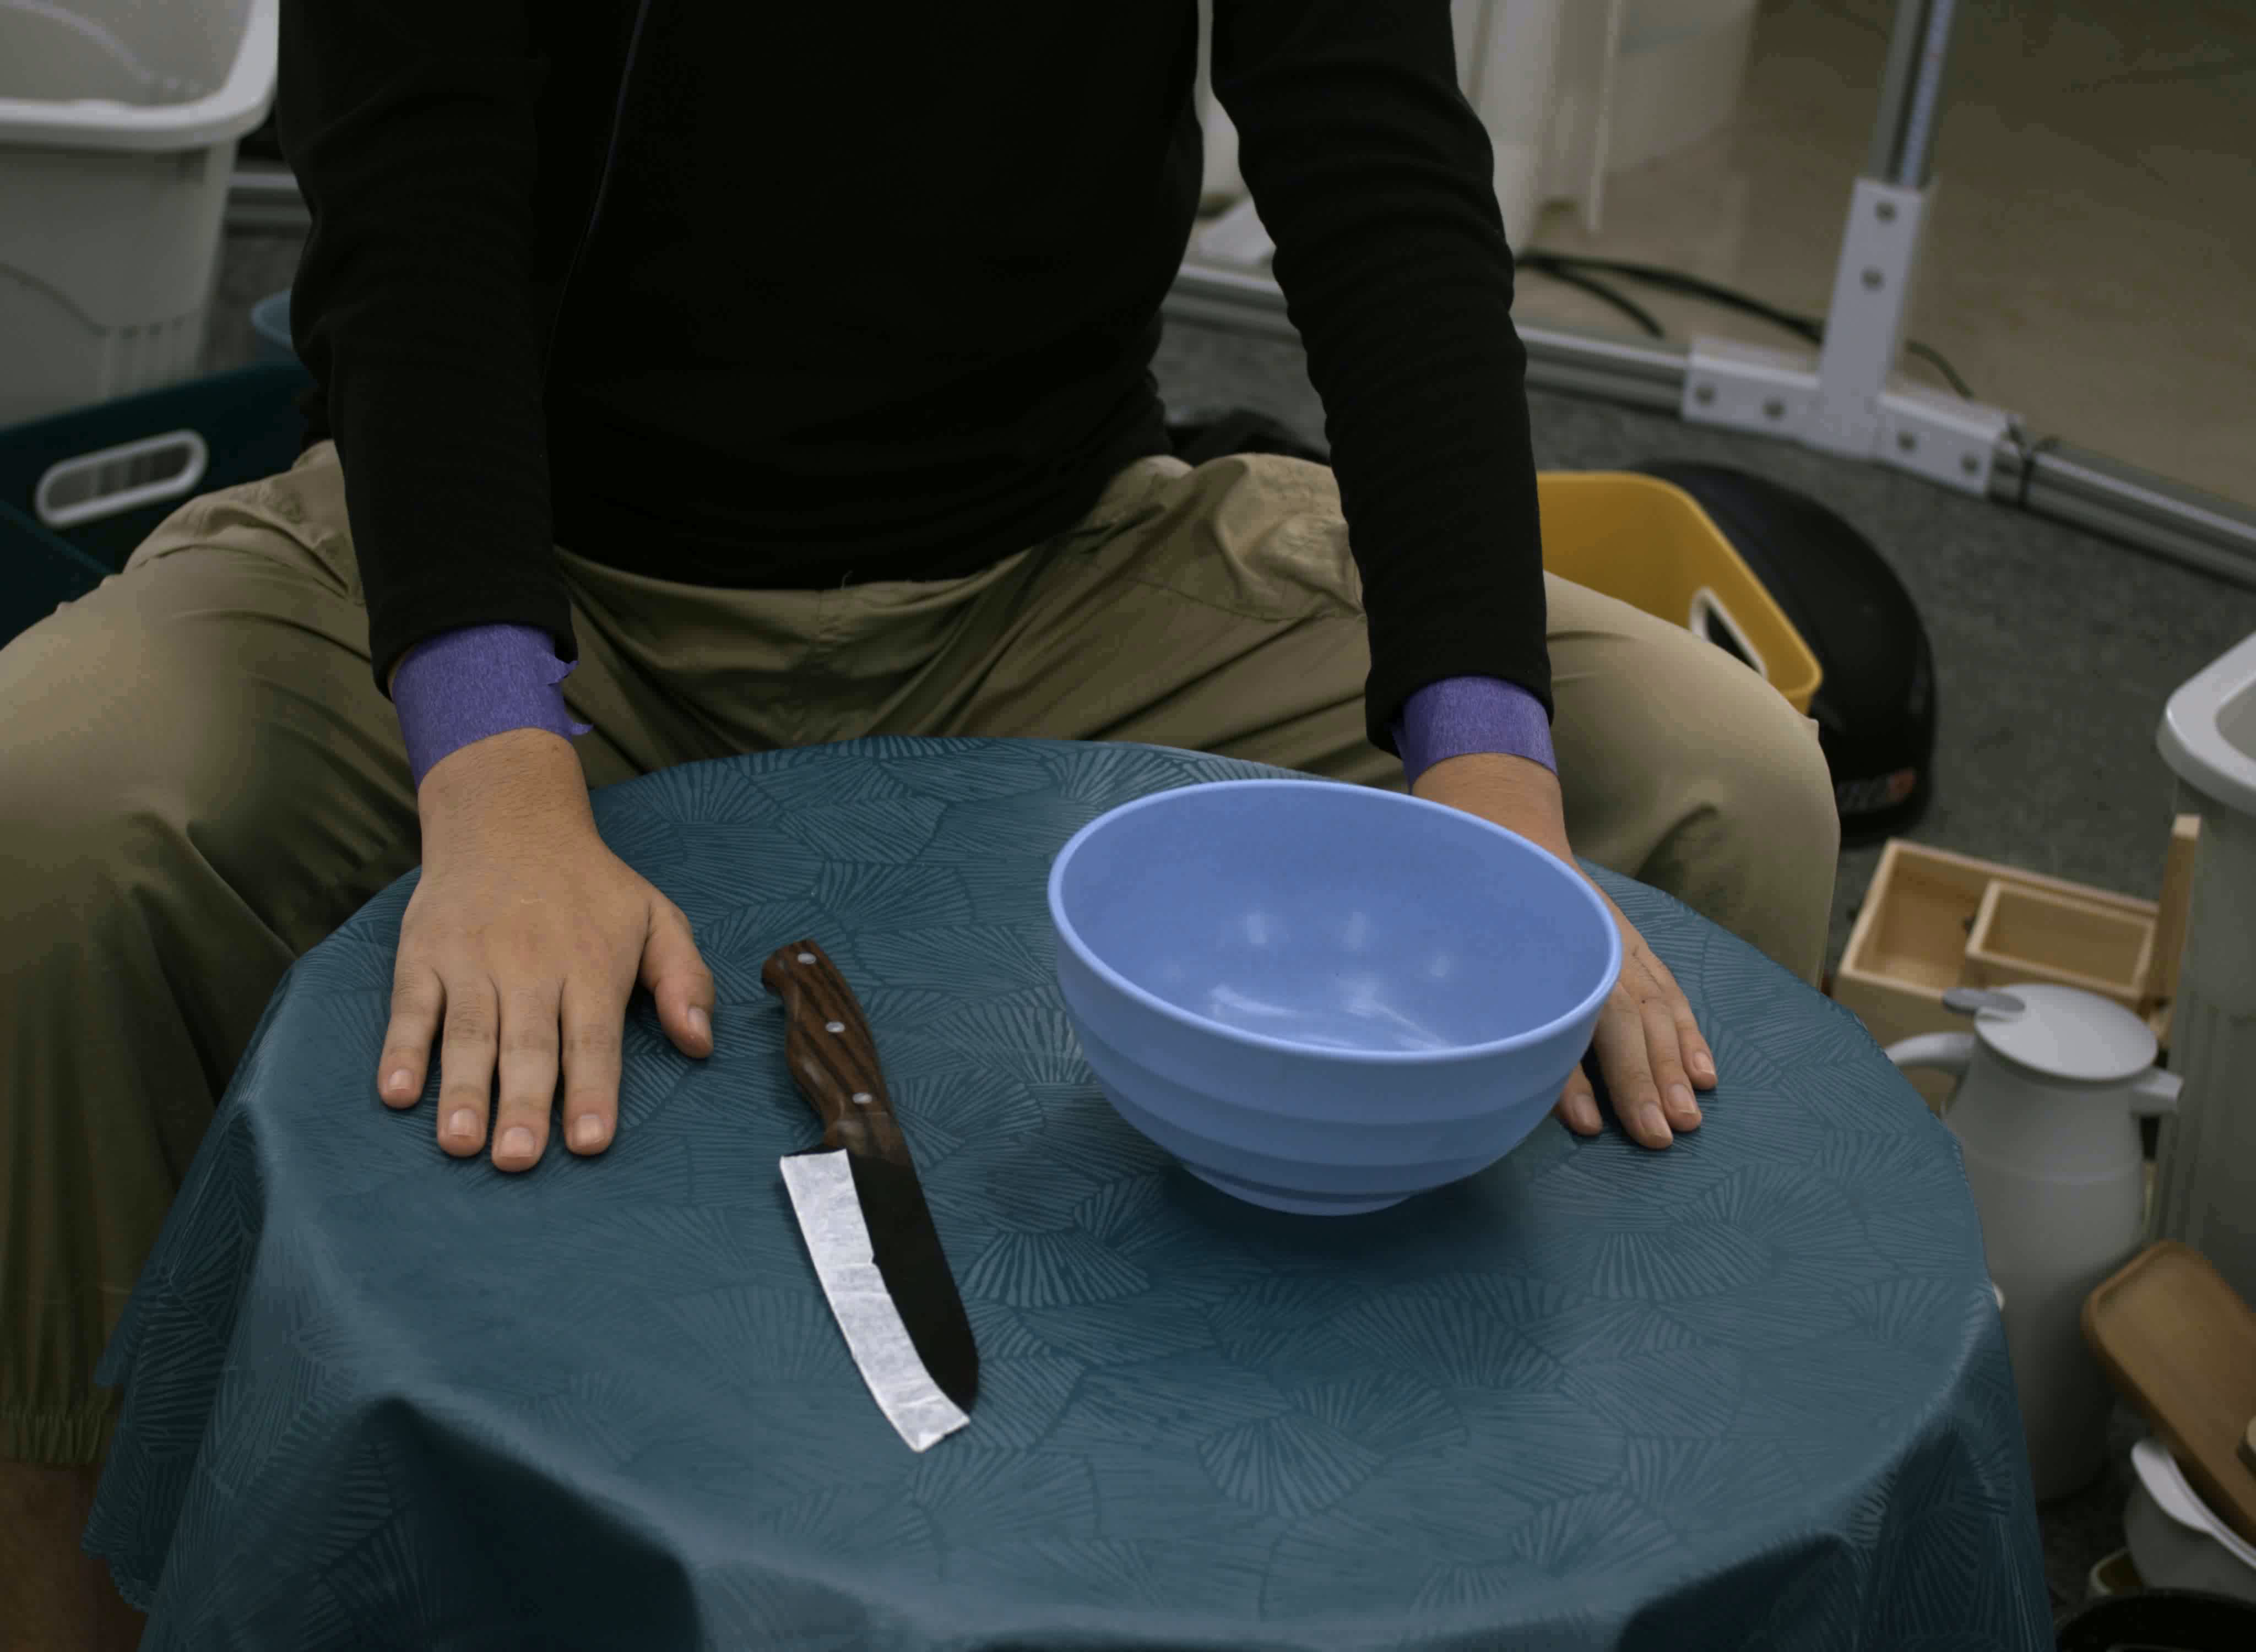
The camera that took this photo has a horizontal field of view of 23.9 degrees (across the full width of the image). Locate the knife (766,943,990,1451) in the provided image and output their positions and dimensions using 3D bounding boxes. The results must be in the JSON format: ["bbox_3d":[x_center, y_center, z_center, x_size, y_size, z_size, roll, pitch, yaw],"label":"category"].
[{"bbox_3d":[-0.088,0.121,1.774,0.050,0.020,0.291,-4,31,-10],"label":"knife"}]

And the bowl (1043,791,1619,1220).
[{"bbox_3d":[0.065,0.071,1.823,0.196,0.095,0.197,4,26,-2],"label":"bowl"}]
